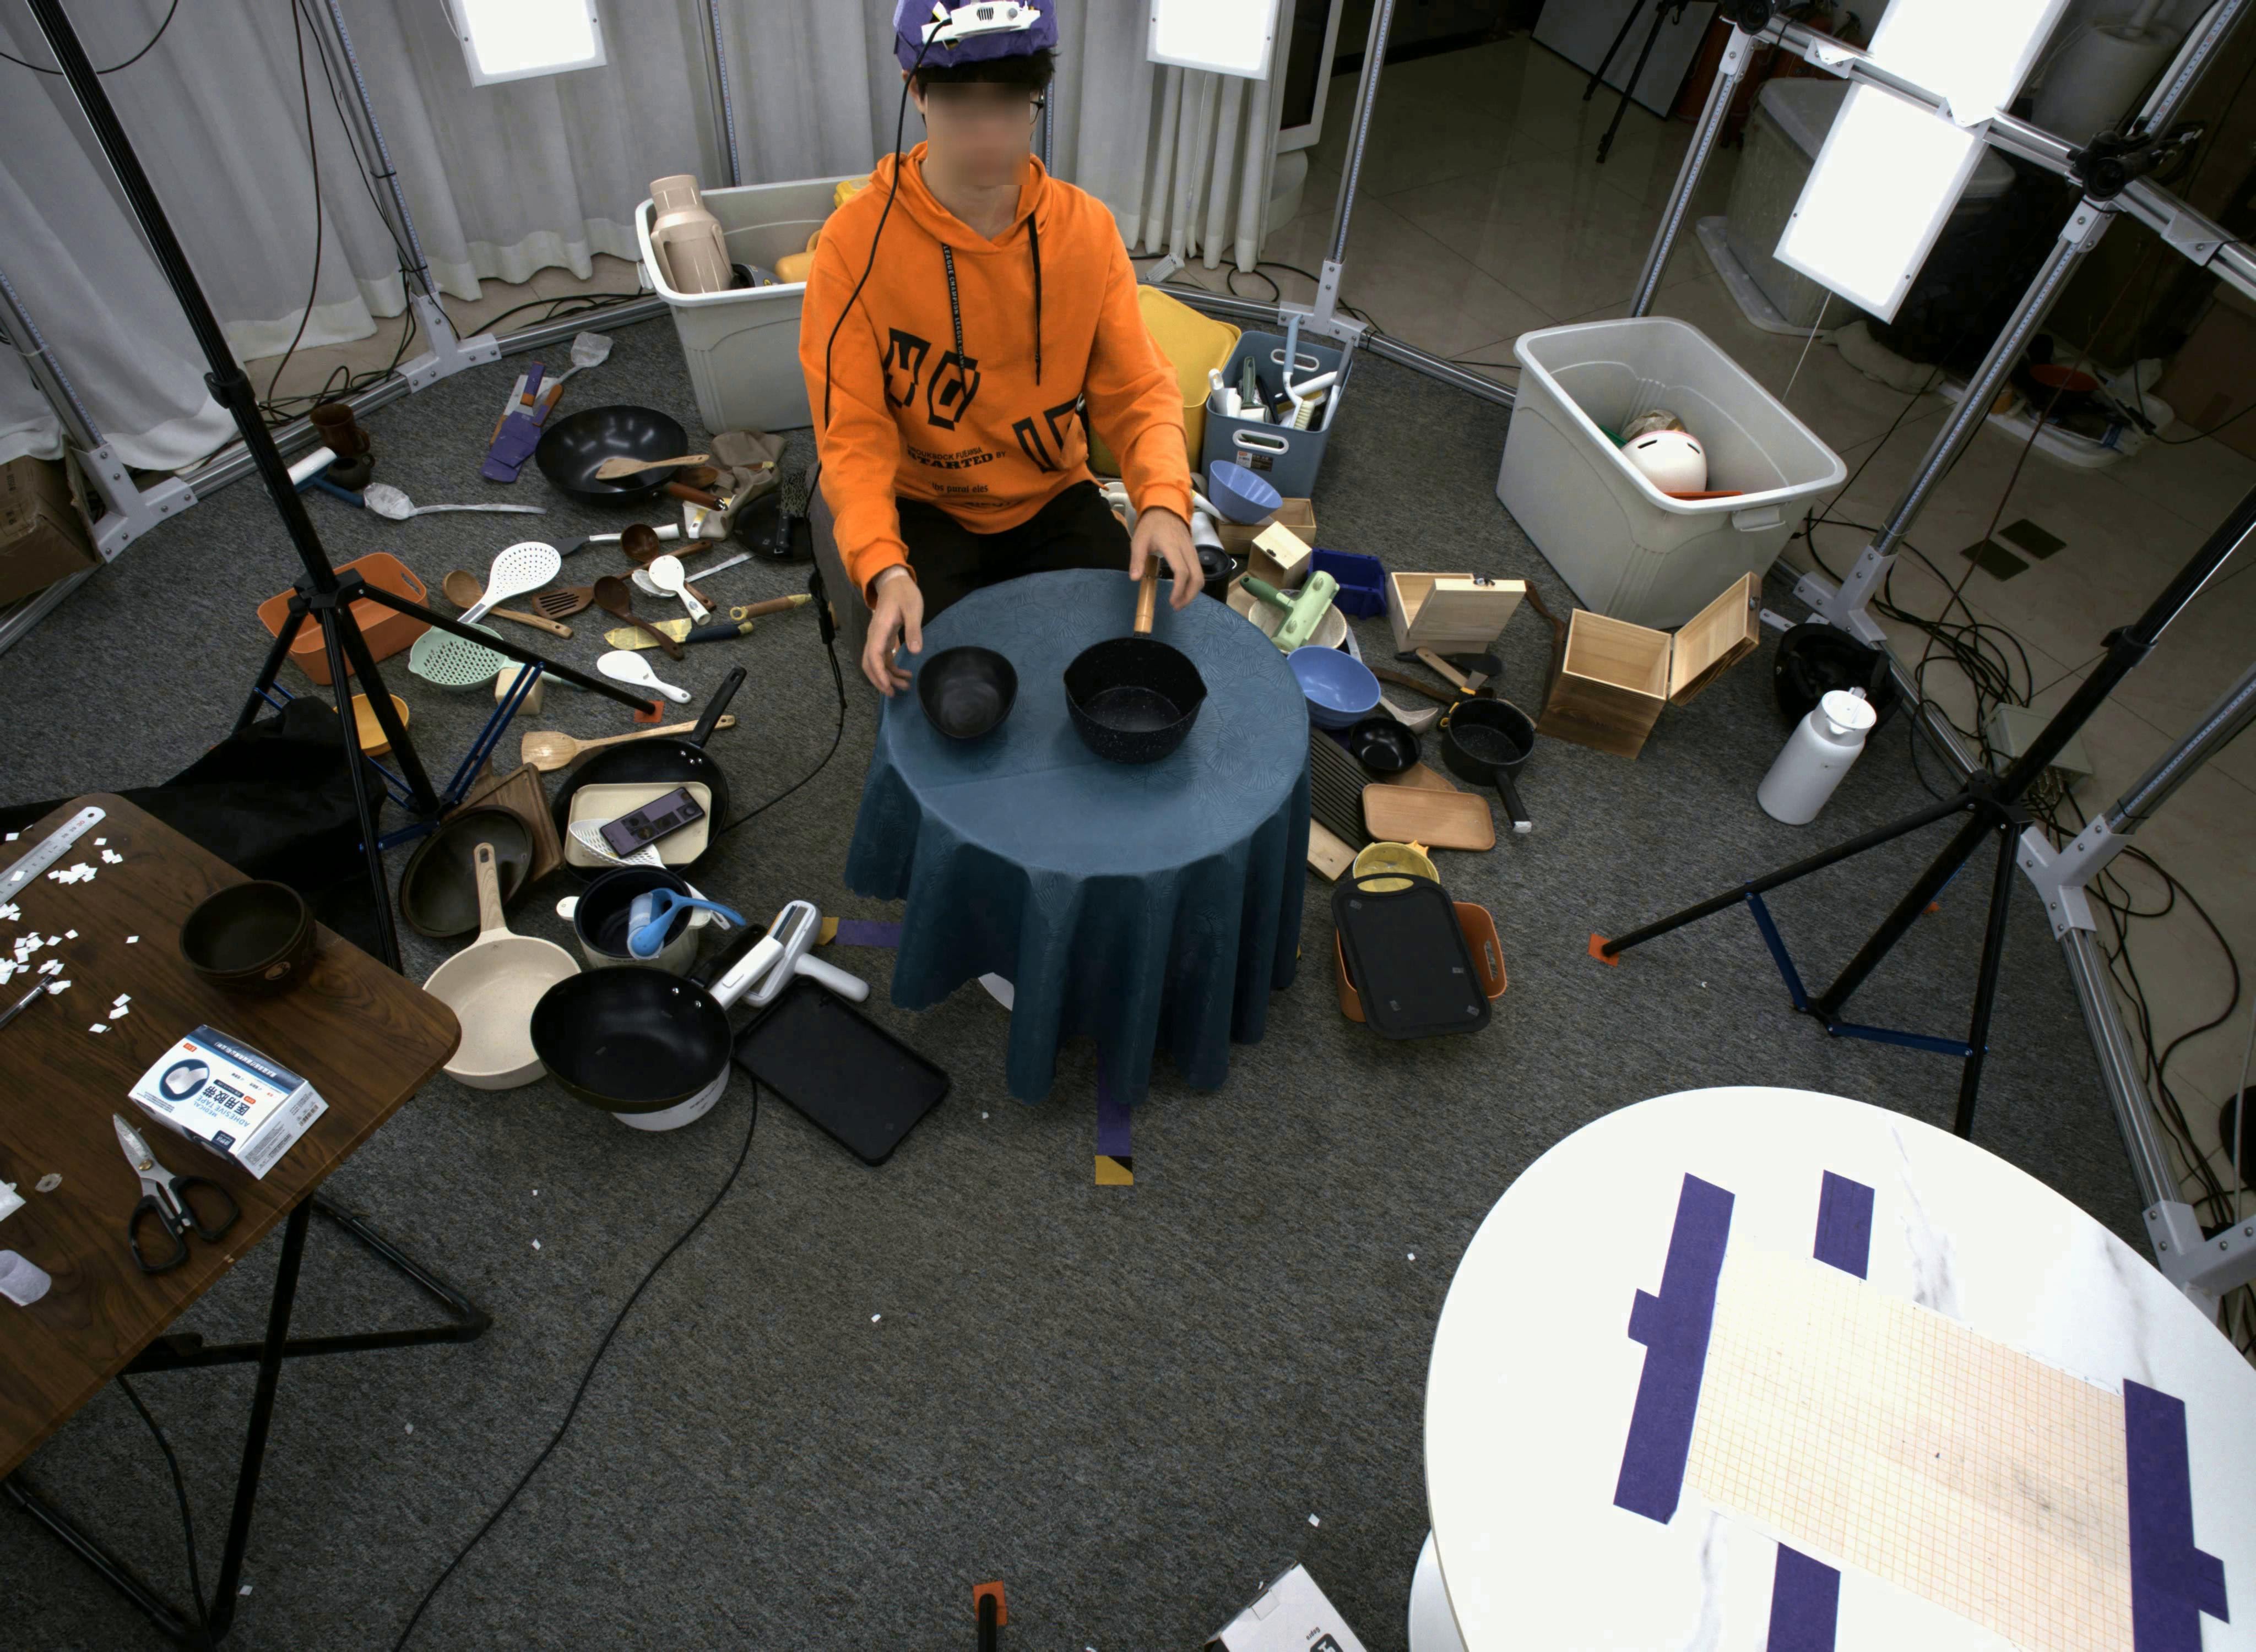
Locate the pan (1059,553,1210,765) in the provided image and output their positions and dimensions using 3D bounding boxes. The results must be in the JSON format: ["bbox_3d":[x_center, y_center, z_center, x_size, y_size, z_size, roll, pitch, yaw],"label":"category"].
[{"bbox_3d":[0.014,-0.235,1.804,0.207,0.105,0.351,5,50,2],"label":"pan"}]

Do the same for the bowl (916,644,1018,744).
[{"bbox_3d":[-0.219,-0.172,1.762,0.137,0.065,0.174,1,51,-3],"label":"bowl"}]
